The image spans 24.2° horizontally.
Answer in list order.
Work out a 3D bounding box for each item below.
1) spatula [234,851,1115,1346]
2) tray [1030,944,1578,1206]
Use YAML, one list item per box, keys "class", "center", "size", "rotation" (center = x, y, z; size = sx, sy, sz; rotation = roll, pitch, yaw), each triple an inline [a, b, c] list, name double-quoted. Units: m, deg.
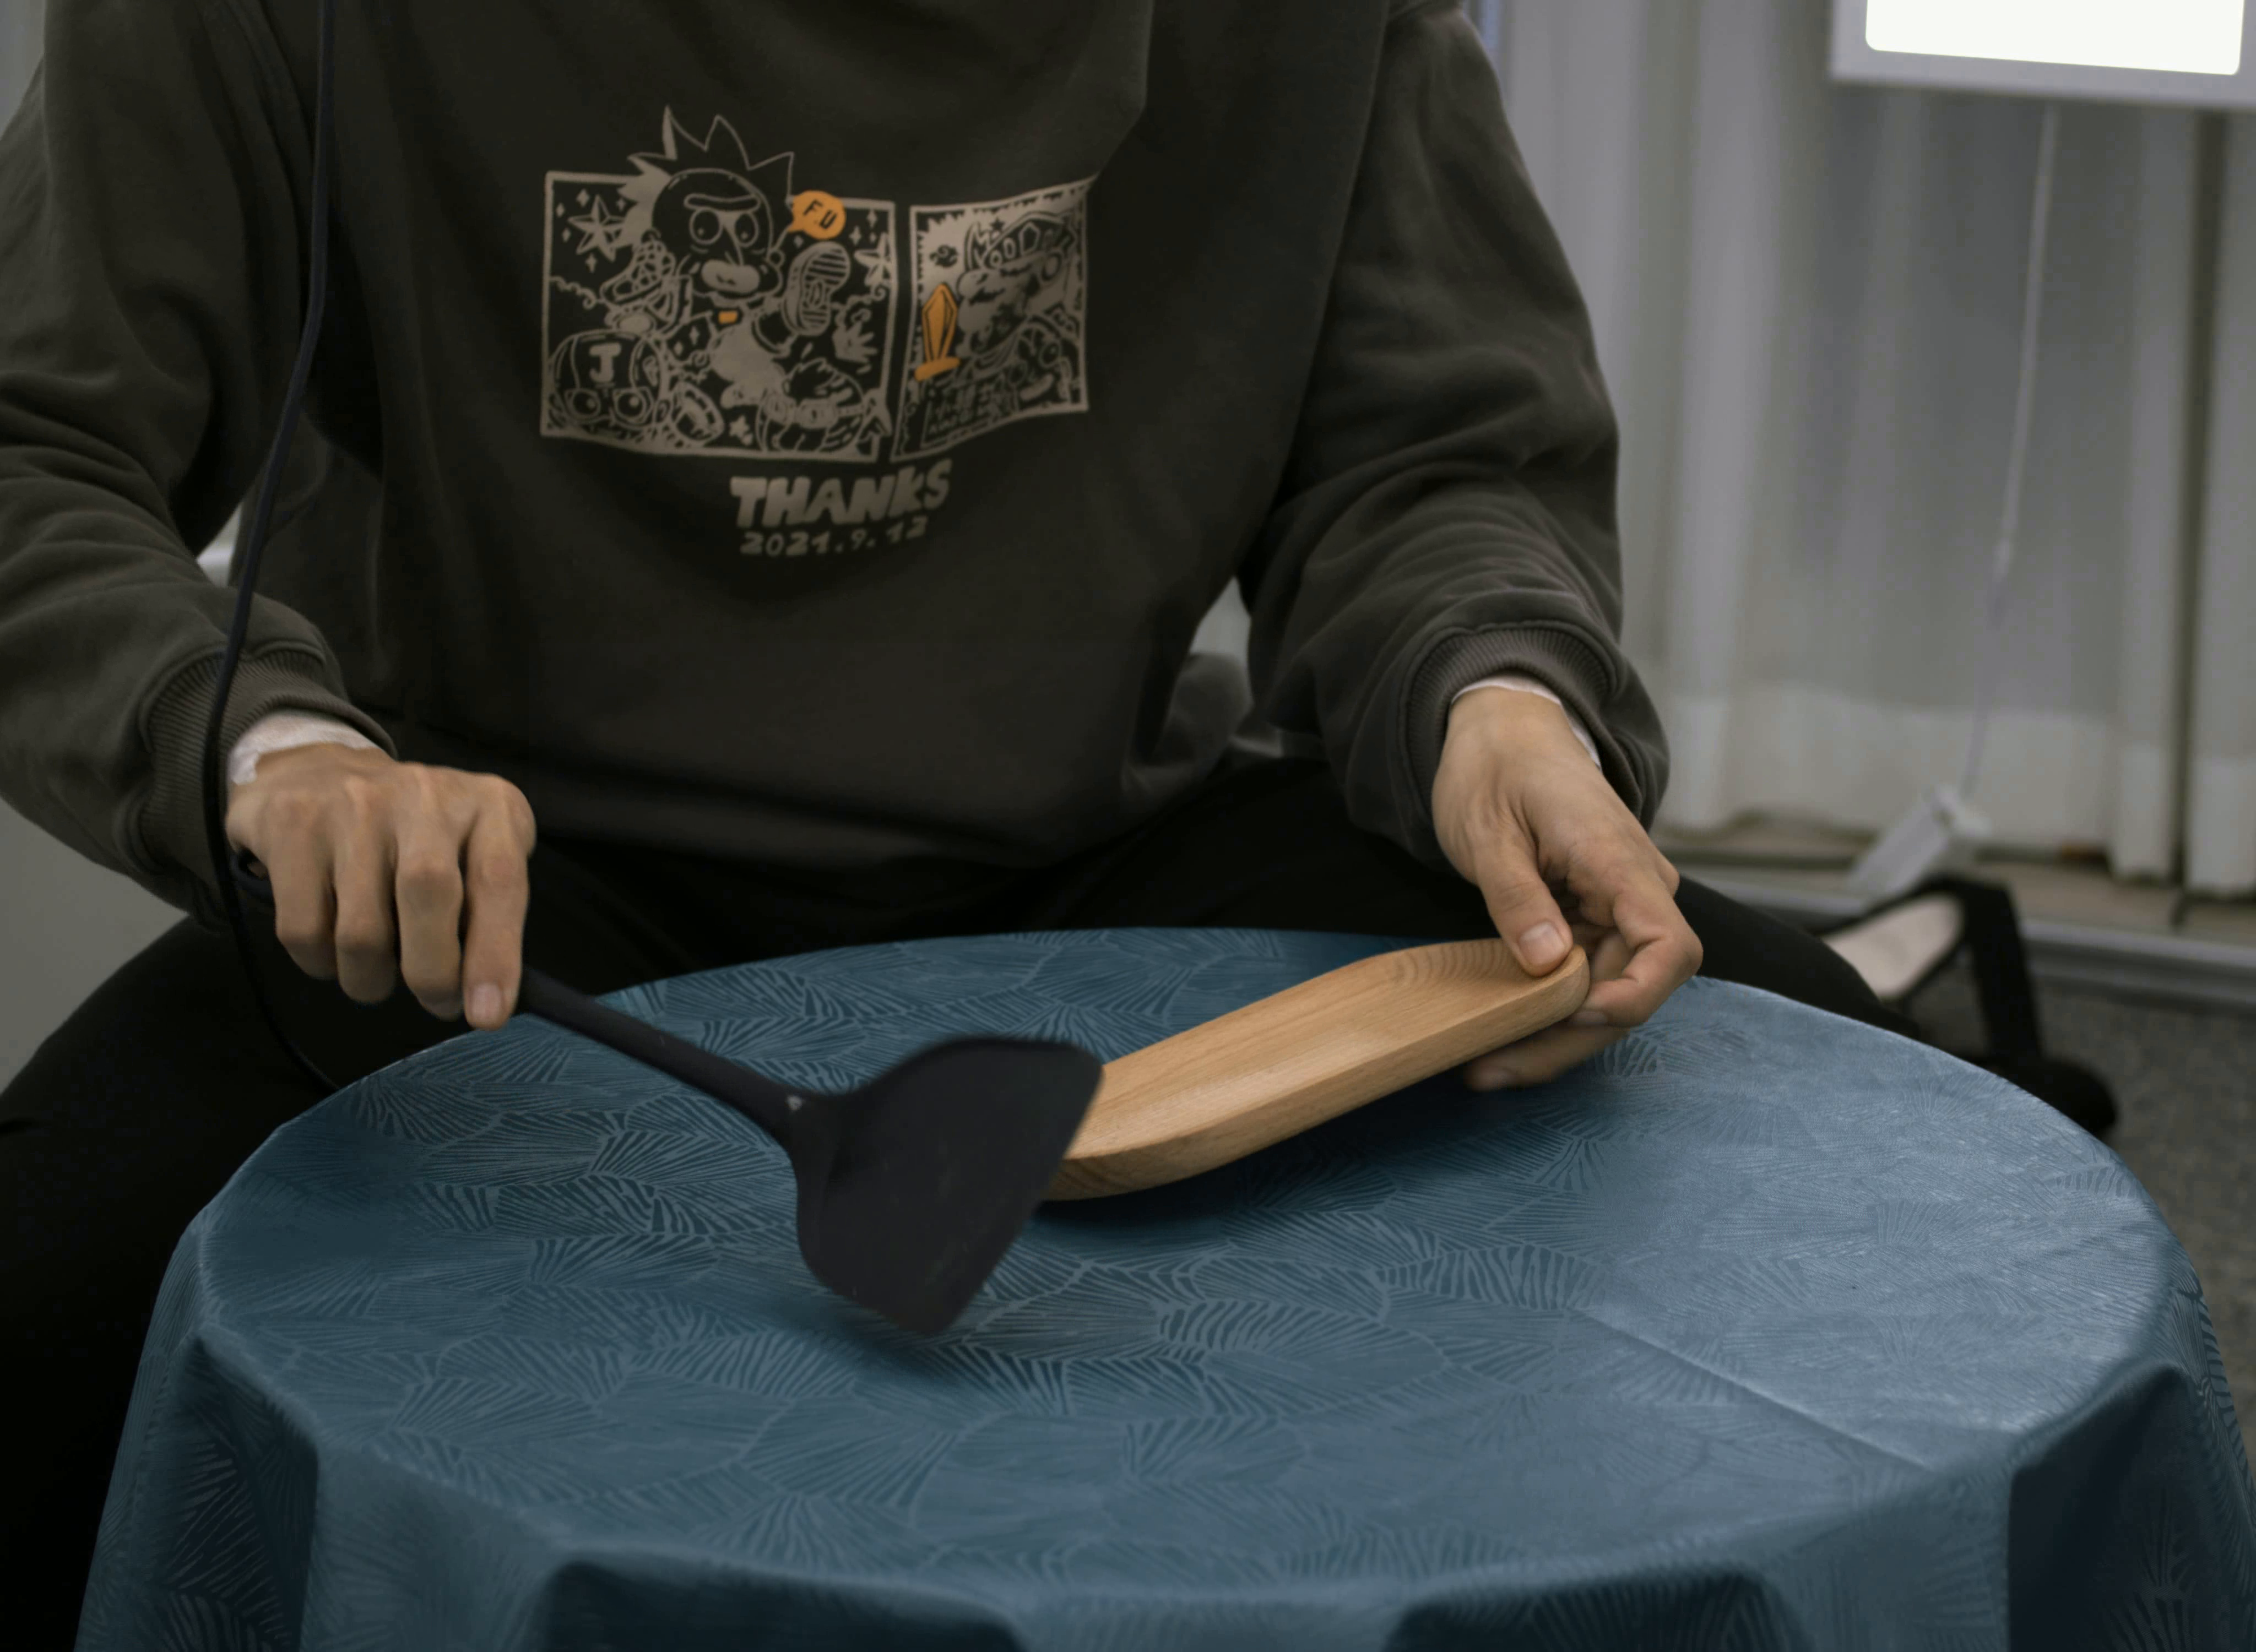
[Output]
- class: "spatula"
  center: [-0.150, 0.062, 1.569]
  size: [0.322, 0.041, 0.099]
  rotation: [24, 66, 26]
- class: "tray"
  center: [0.048, 0.078, 1.673]
  size: [0.232, 0.020, 0.100]
  rotation: [-22, 15, -37]
